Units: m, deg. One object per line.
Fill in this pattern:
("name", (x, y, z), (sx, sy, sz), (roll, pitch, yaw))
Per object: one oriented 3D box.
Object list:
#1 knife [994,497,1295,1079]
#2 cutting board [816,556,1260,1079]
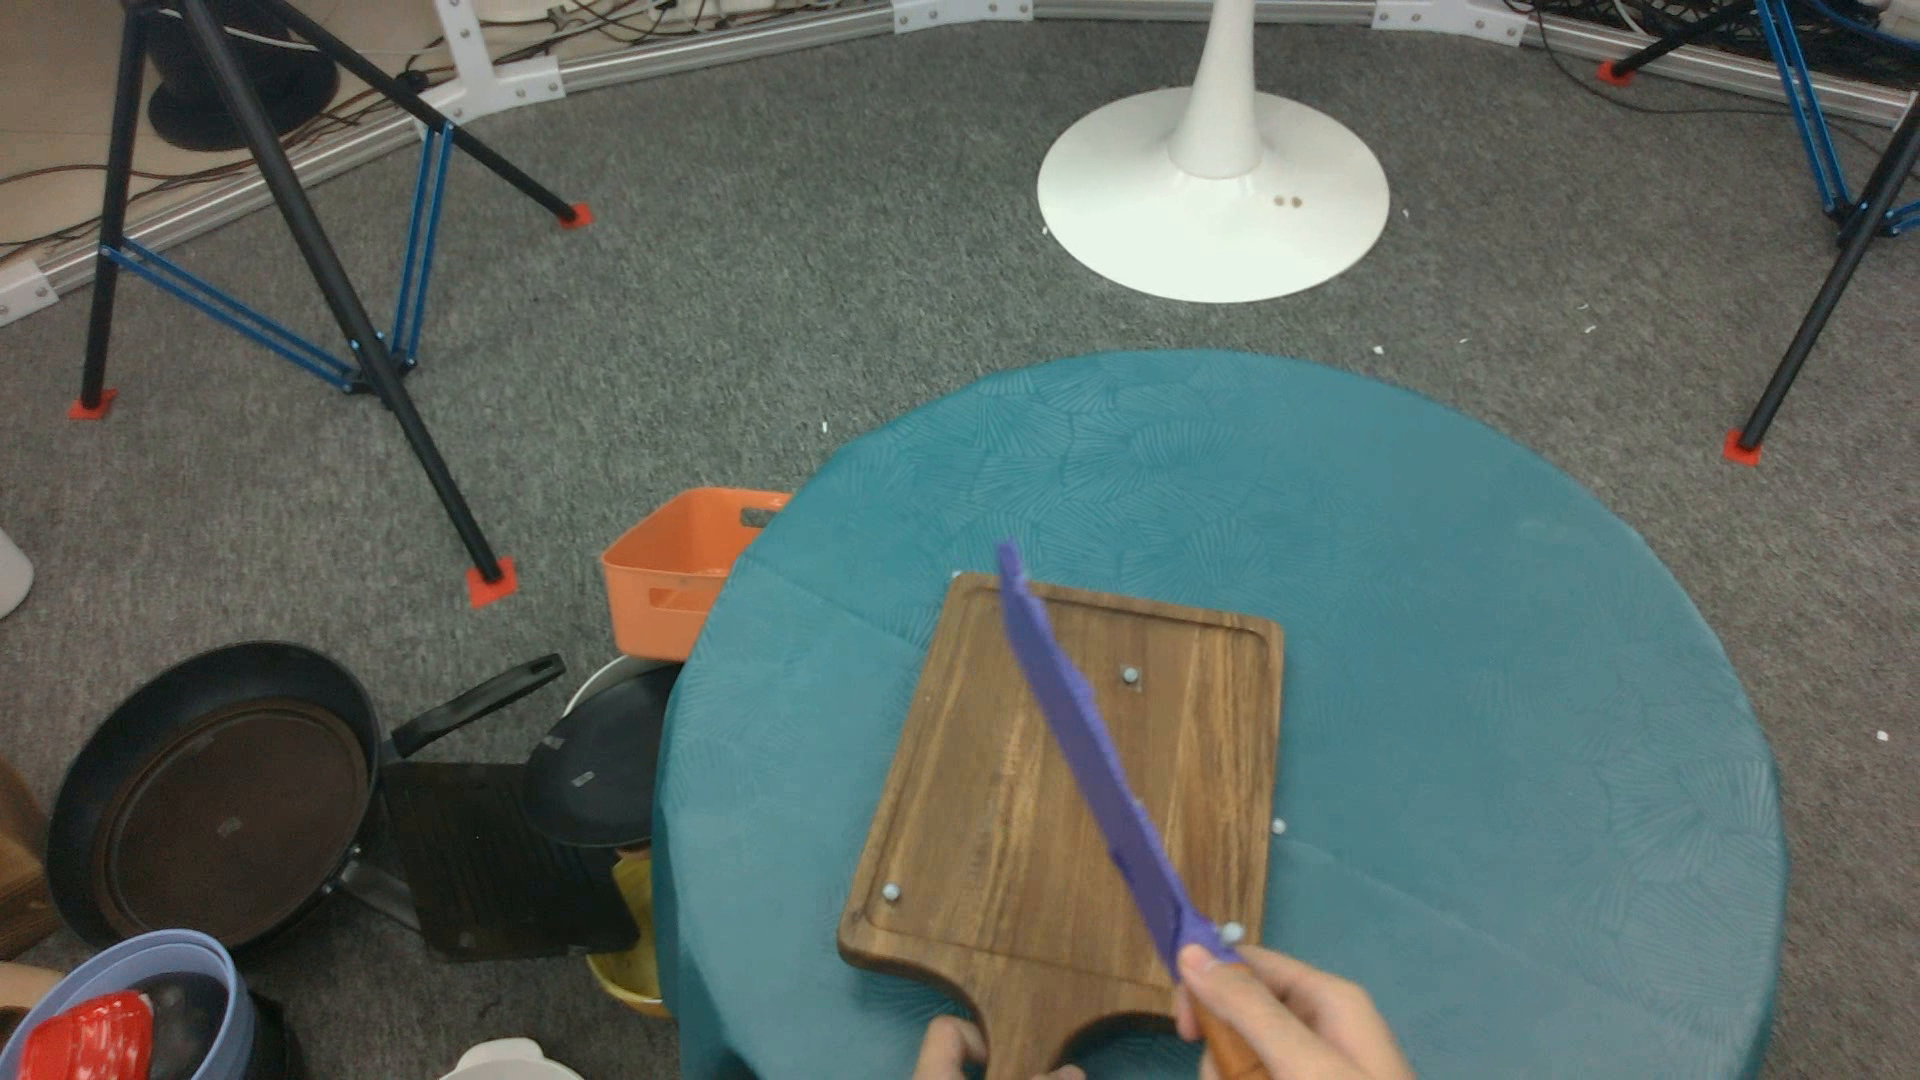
("knife", (0.072, 0.126, 0.590), (0.032, 0.103, 0.316), (-17, 55, -7))
("cutting board", (0.041, 0.150, 0.687), (0.201, 0.023, 0.354), (9, 47, 8))
